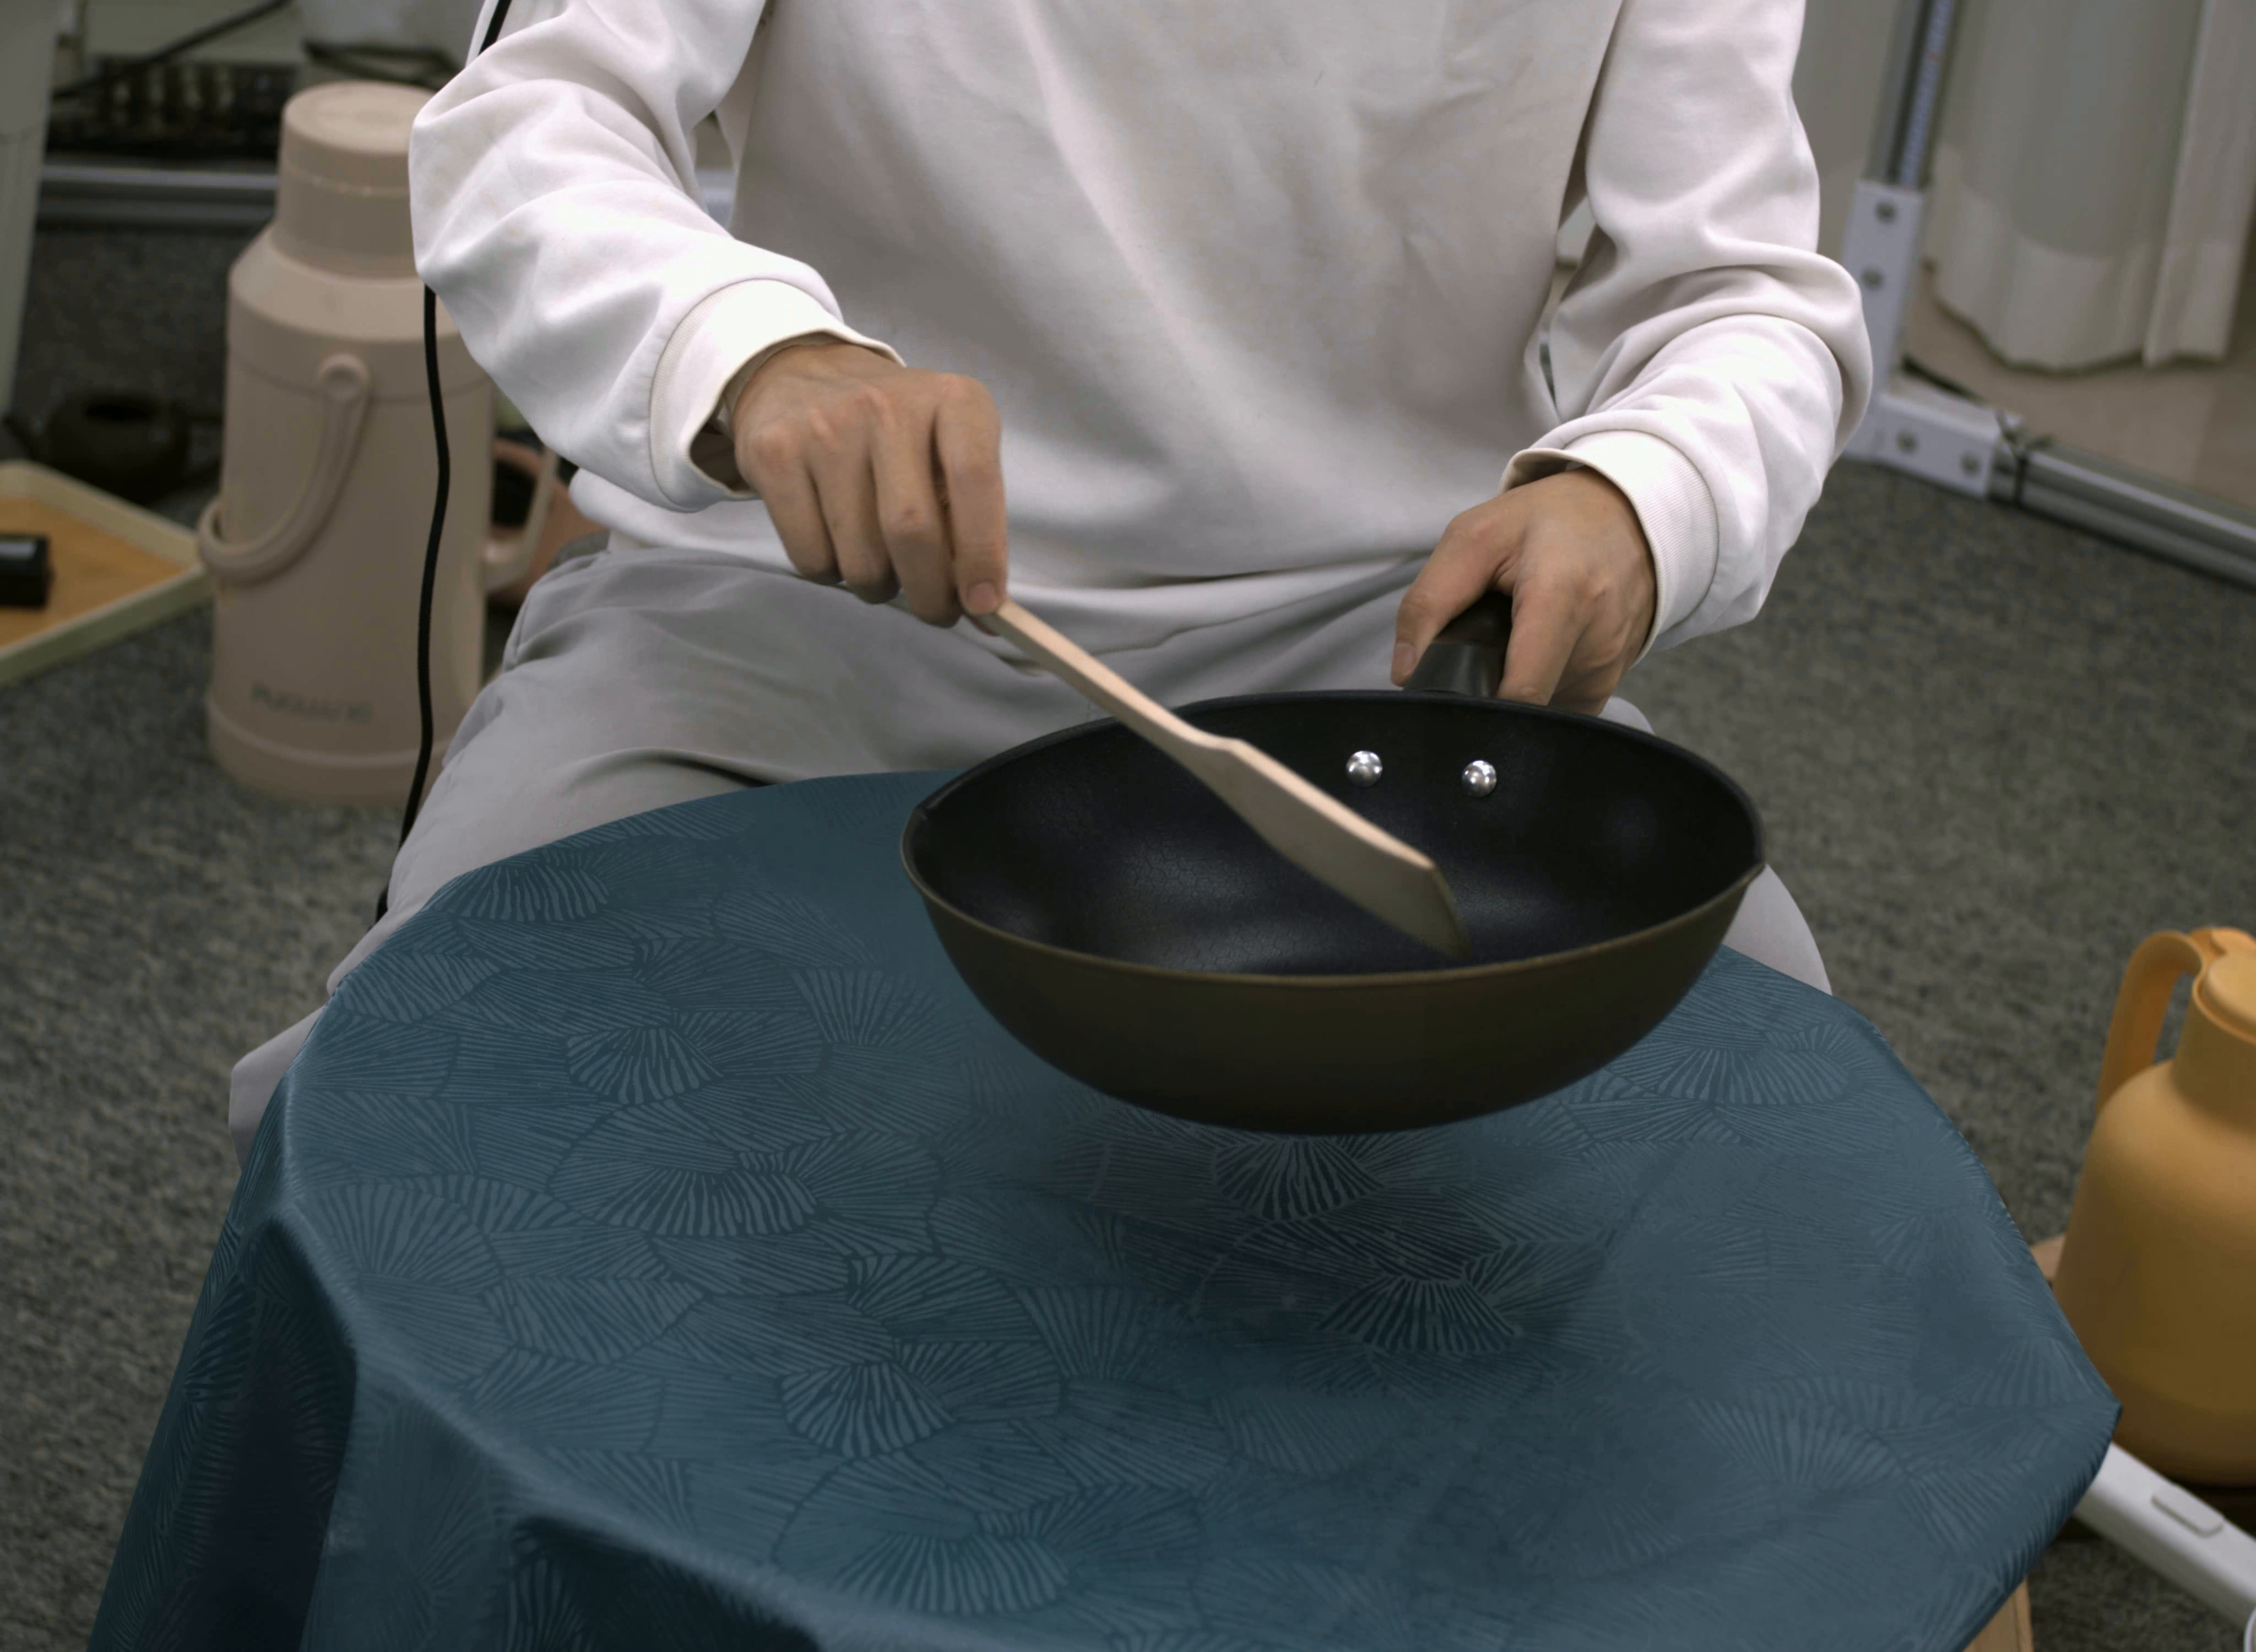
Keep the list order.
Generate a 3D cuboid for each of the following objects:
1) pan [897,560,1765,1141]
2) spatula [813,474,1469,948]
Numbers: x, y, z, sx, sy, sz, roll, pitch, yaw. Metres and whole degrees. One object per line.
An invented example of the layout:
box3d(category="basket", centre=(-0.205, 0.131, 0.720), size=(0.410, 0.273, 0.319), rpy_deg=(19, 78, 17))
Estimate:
box3d(category="pan", centre=(0.092, 0.007, 1.836), size=(0.288, 0.086, 0.463), rpy_deg=(5, 20, 16))
box3d(category="spatula", centre=(-0.003, -0.046, 1.791), size=(0.295, 0.071, 0.010), rpy_deg=(35, 77, 29))
